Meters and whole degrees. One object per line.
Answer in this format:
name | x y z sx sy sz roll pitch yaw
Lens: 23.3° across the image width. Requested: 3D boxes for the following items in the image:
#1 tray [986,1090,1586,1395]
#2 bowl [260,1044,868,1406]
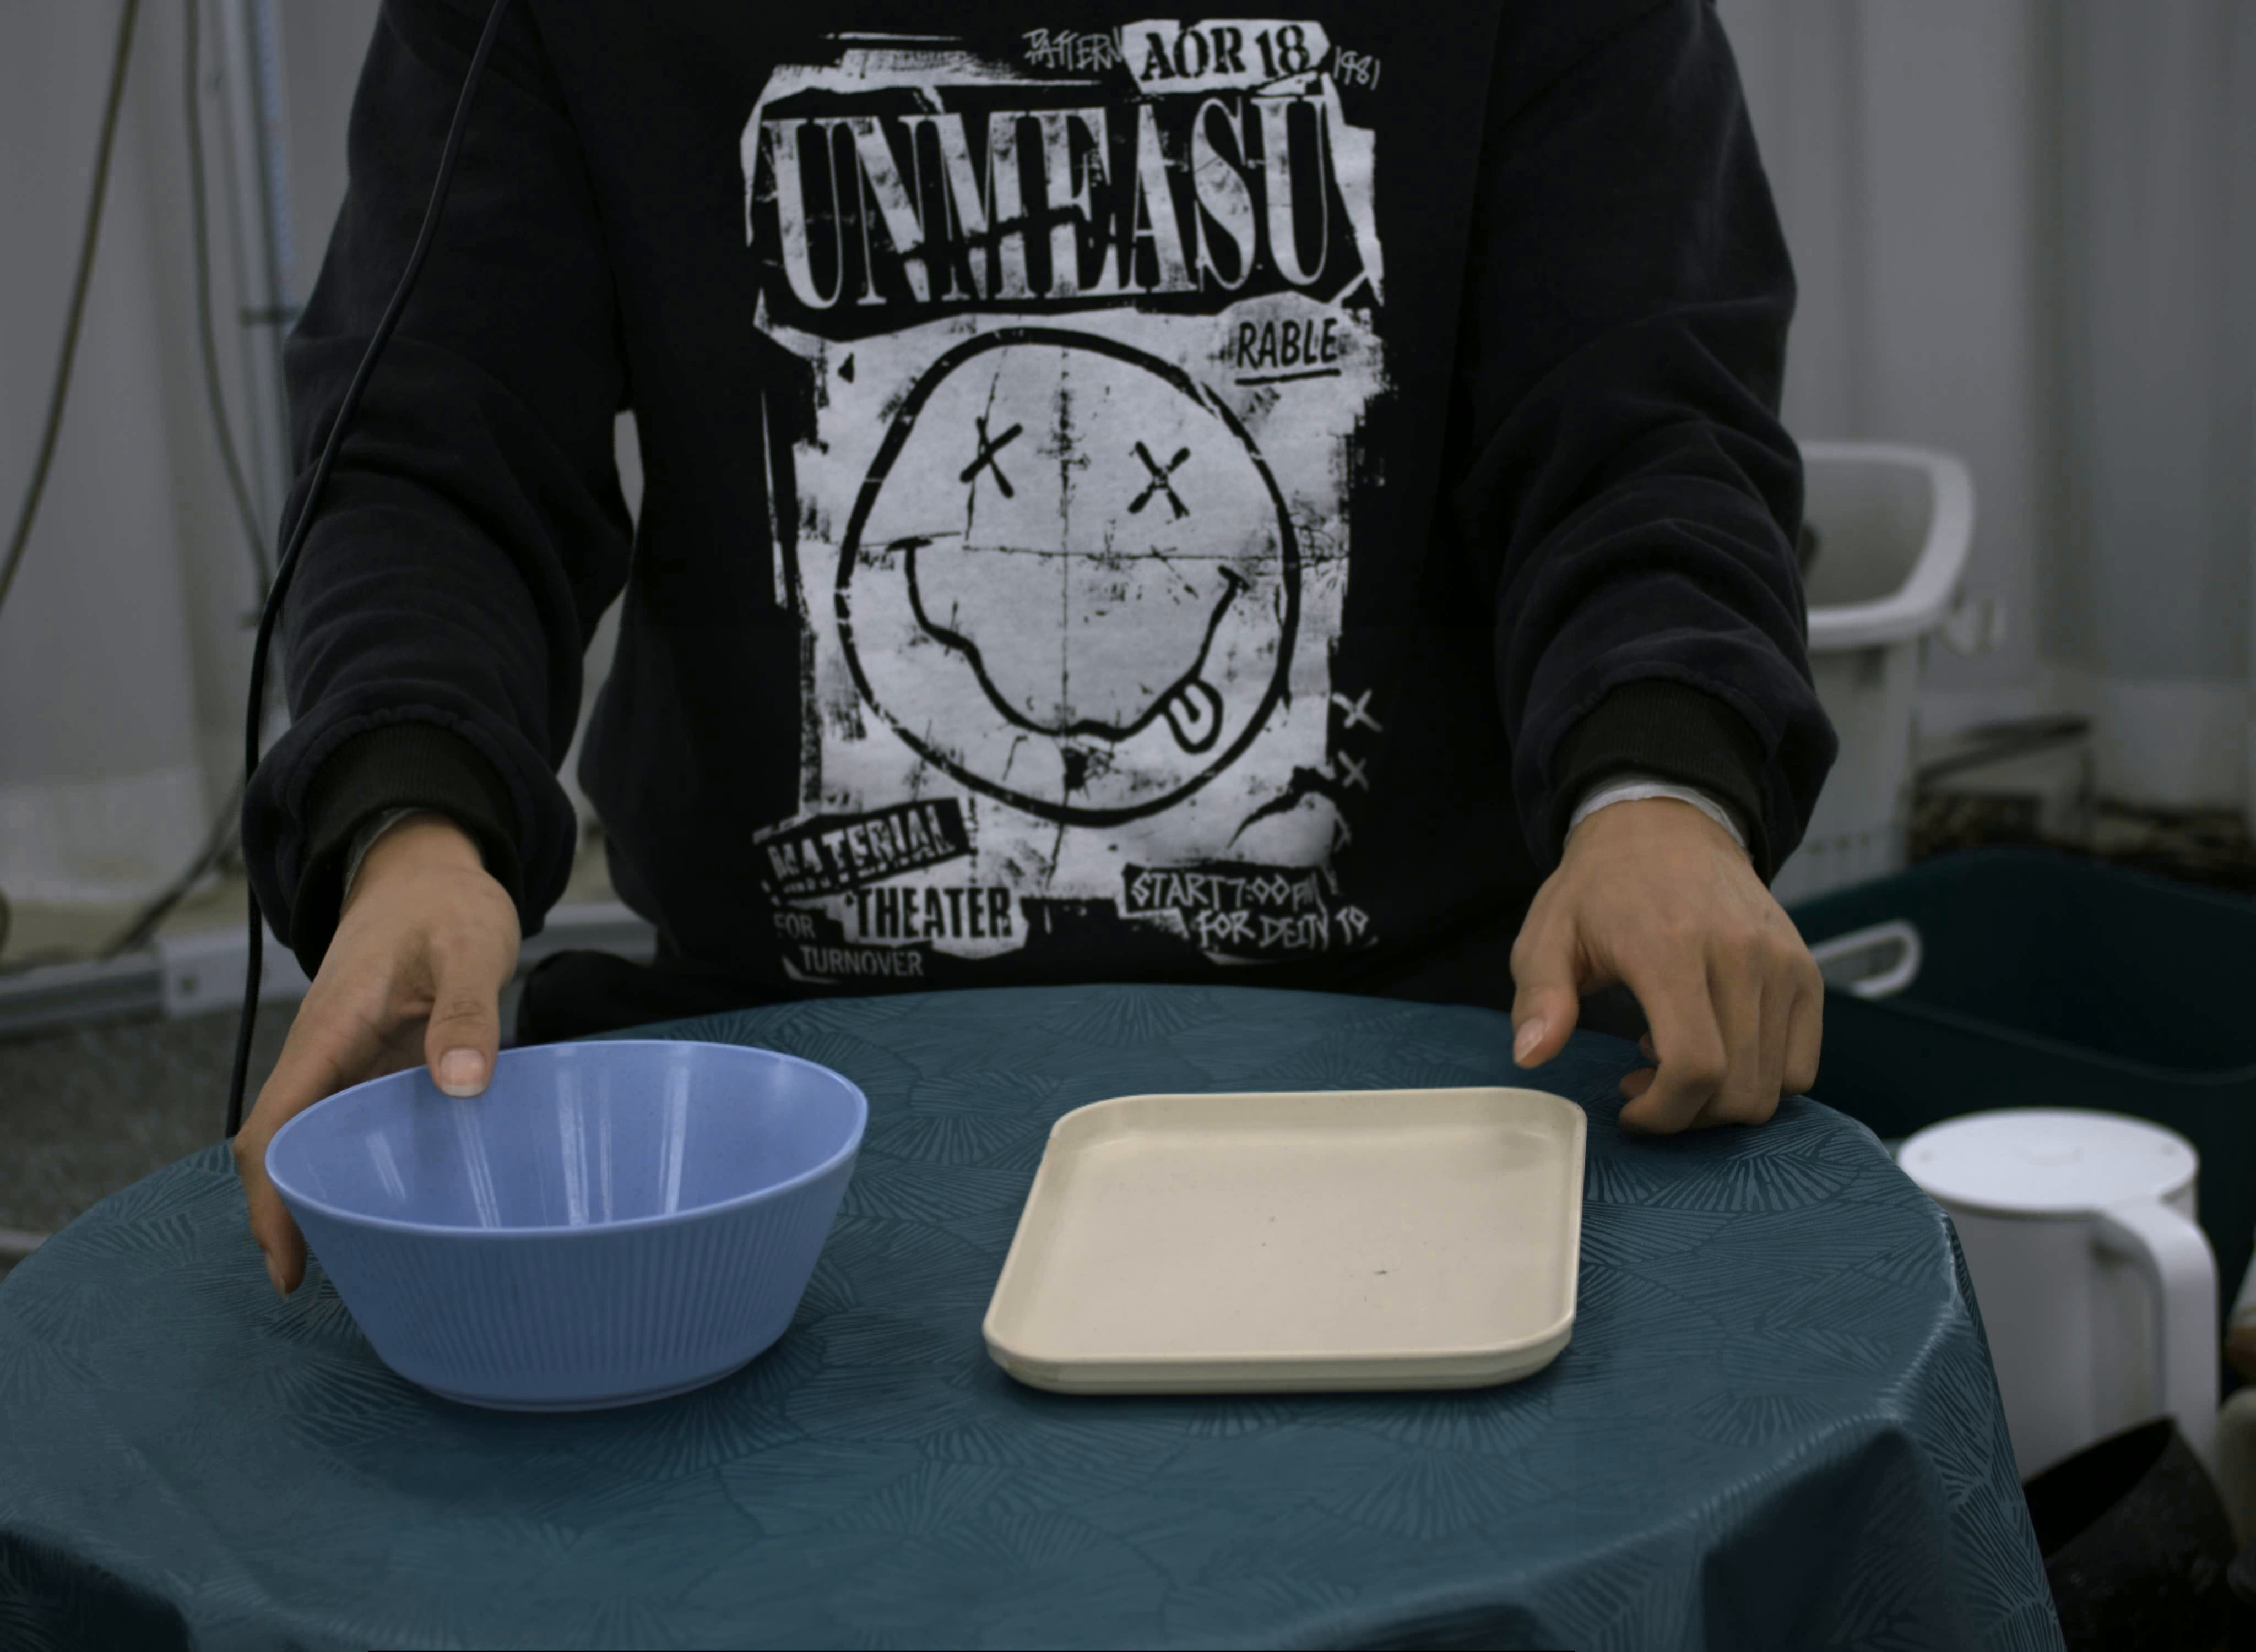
tray | 0.052 0.124 1.637 0.171 0.017 0.241 -1 15 6
bowl | -0.162 0.119 1.593 0.175 0.070 0.177 -2 14 0
